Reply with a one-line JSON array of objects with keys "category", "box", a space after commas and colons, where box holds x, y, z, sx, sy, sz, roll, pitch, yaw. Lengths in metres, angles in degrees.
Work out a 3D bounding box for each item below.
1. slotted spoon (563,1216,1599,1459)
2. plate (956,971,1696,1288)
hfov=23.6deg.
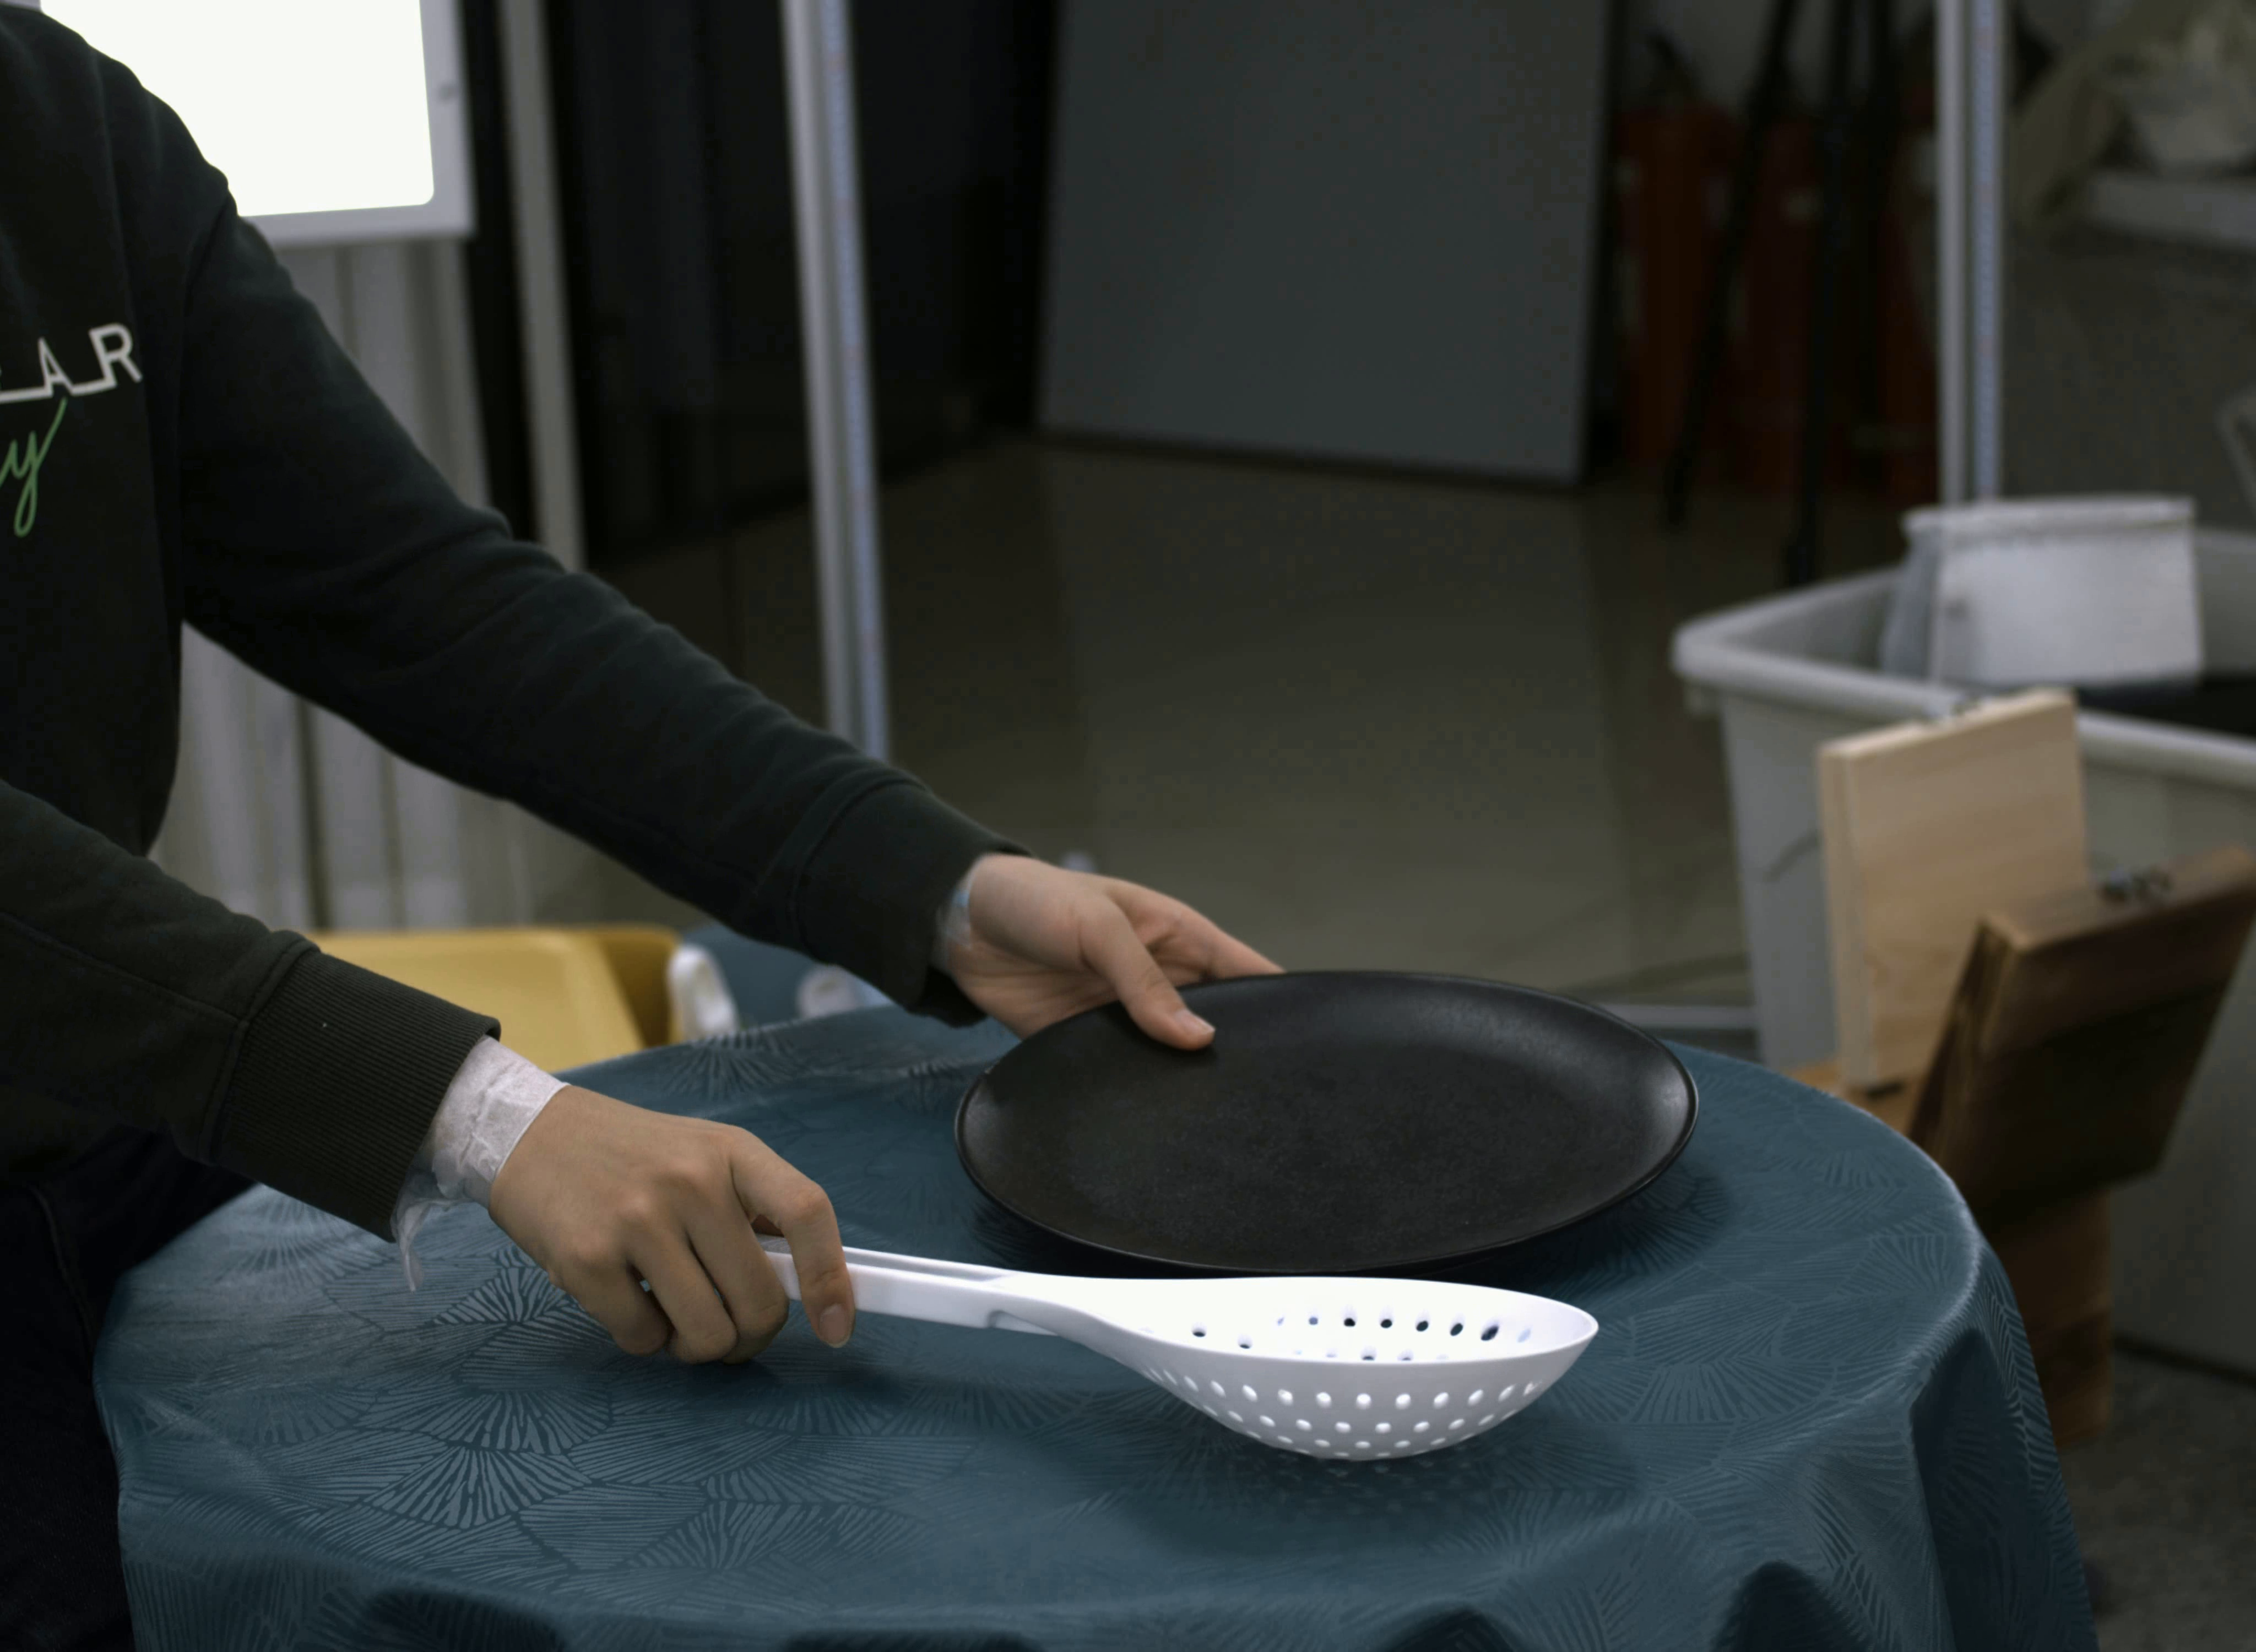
[{"category": "slotted spoon", "box": [-0.024, 0.139, 1.576, 0.352, 0.046, 0.133, 9, 7, 34]}, {"category": "plate", "box": [0.064, 0.101, 1.746, 0.241, 0.023, 0.245, -4, 20, 0]}]
